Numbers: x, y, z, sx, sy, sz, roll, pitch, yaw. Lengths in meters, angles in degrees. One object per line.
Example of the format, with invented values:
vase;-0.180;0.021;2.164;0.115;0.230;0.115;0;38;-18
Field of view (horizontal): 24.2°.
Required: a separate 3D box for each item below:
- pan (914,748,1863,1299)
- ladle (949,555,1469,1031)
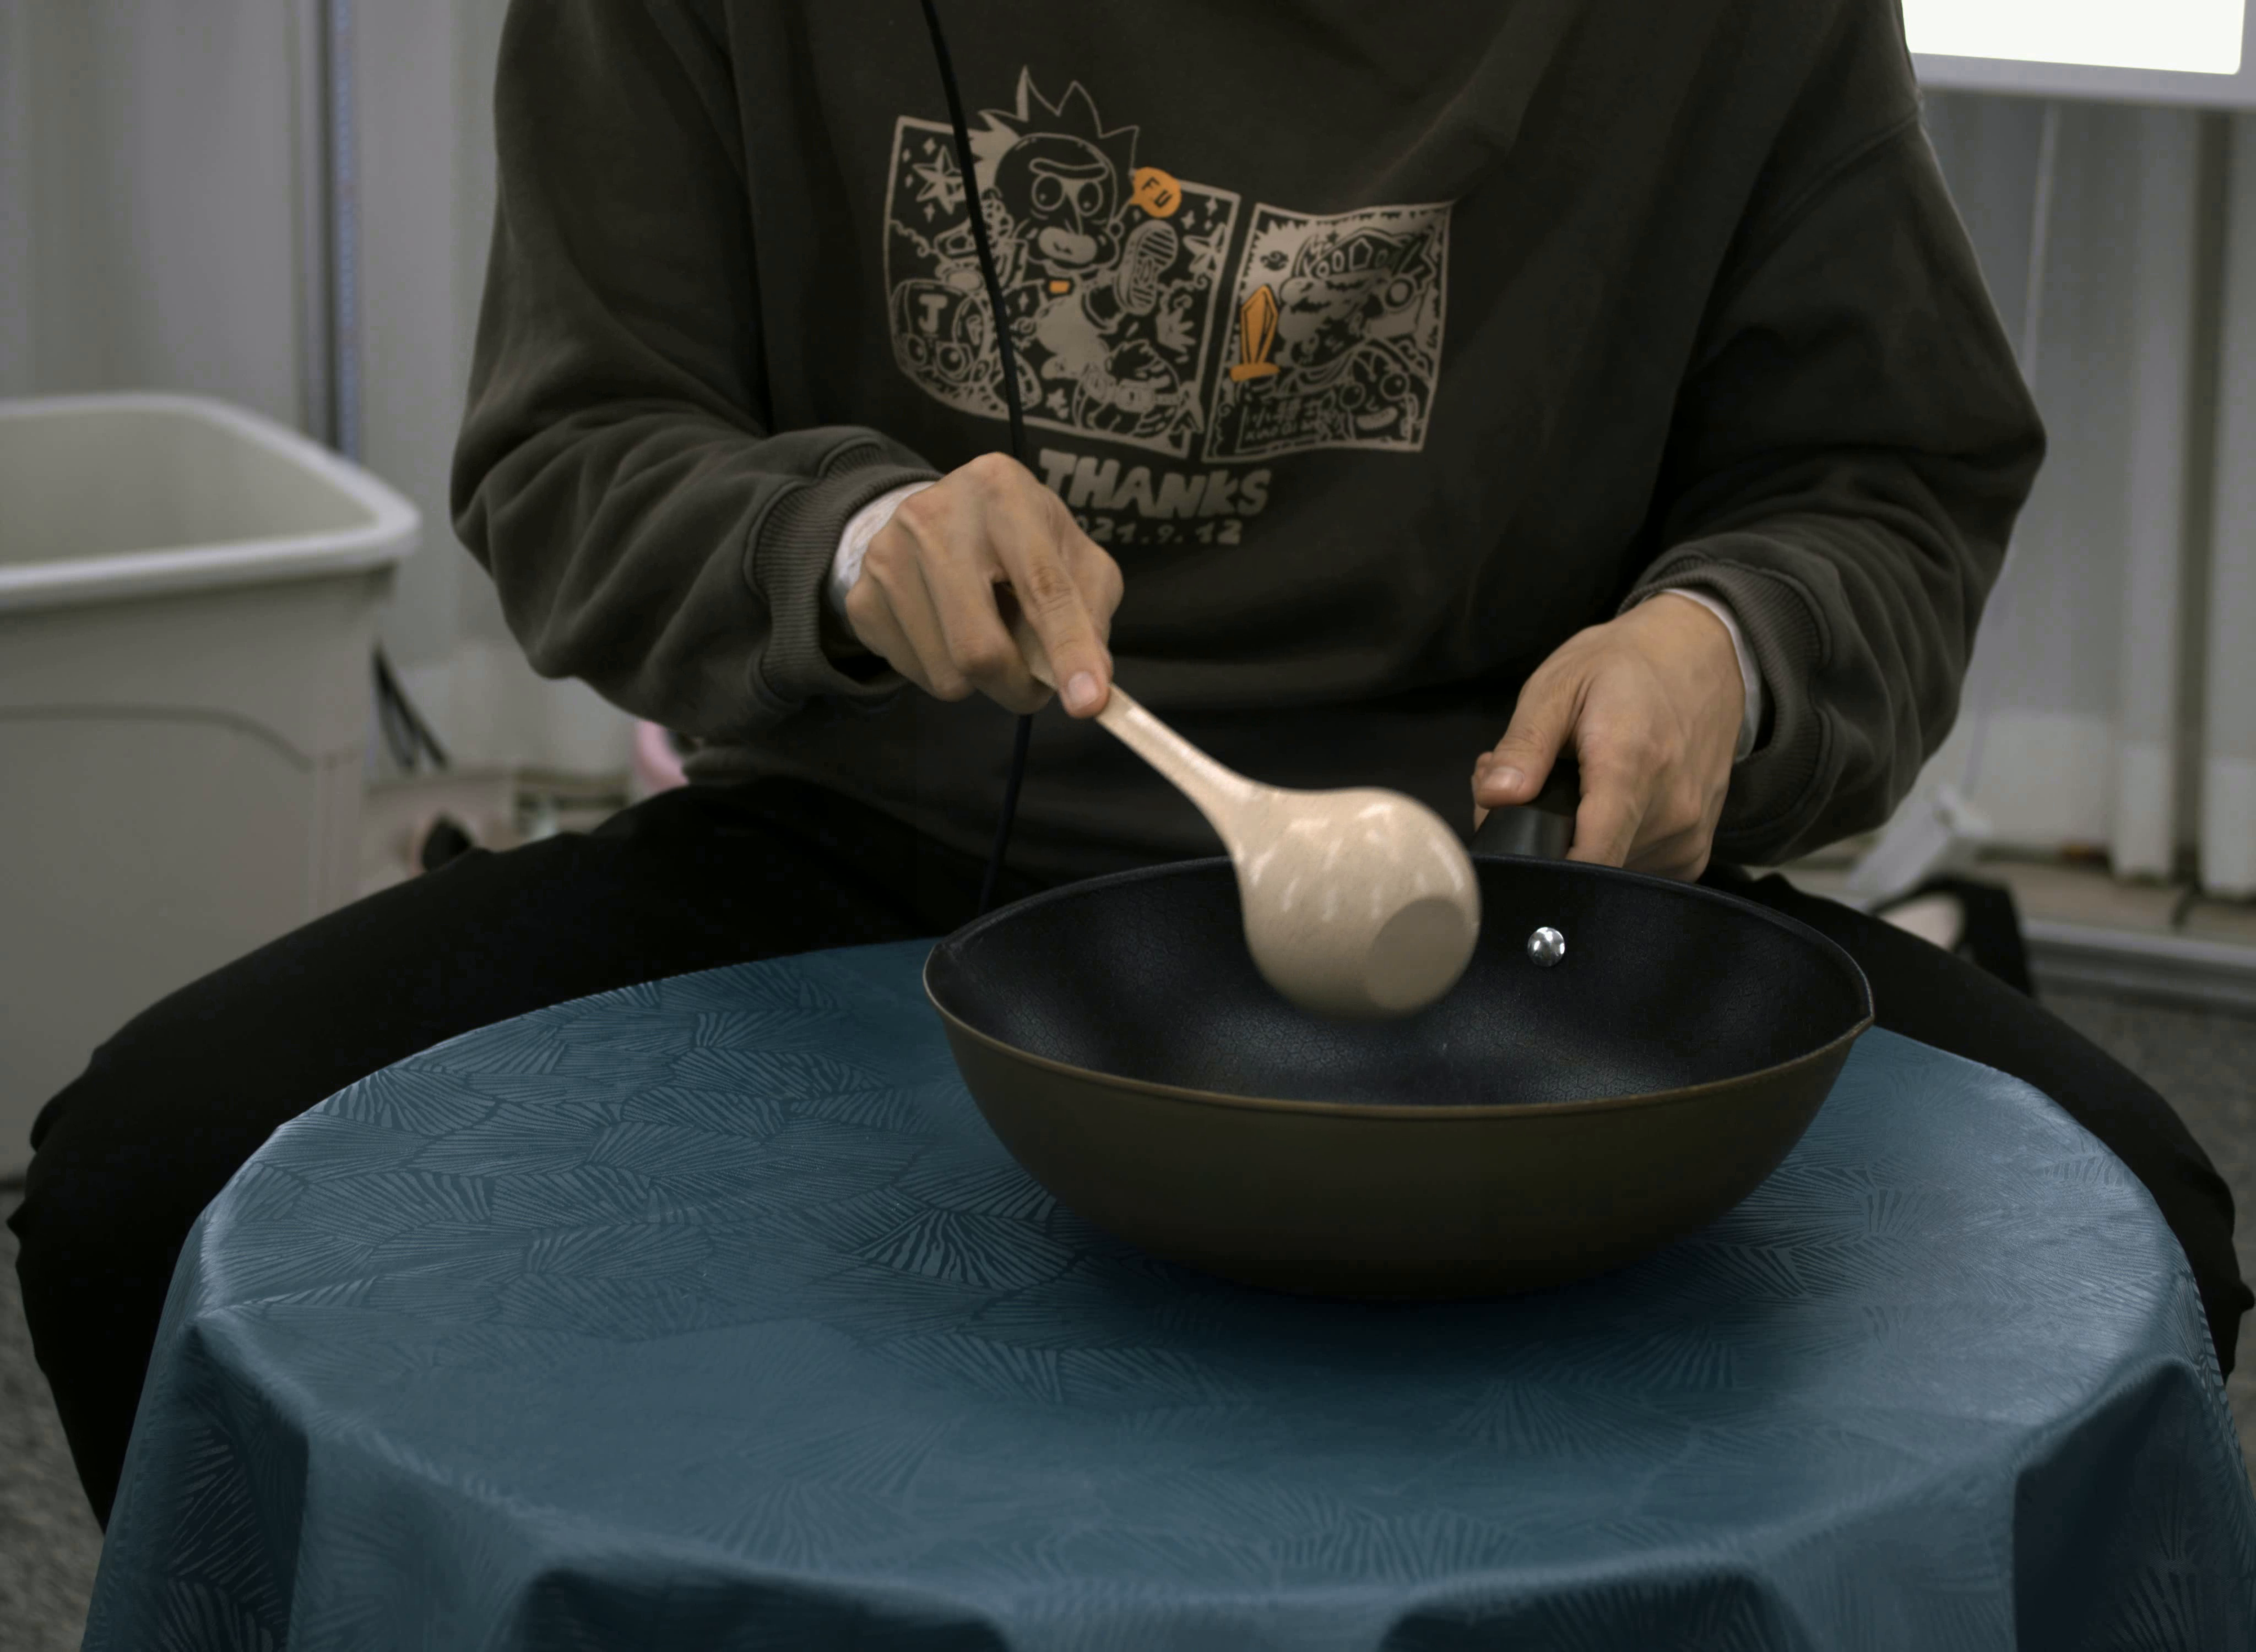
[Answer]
pan;0.102;0.059;1.674;0.286;0.087;0.463;5;14;15
ladle;0.022;-0.015;1.695;0.074;0.072;0.251;36;5;-40
